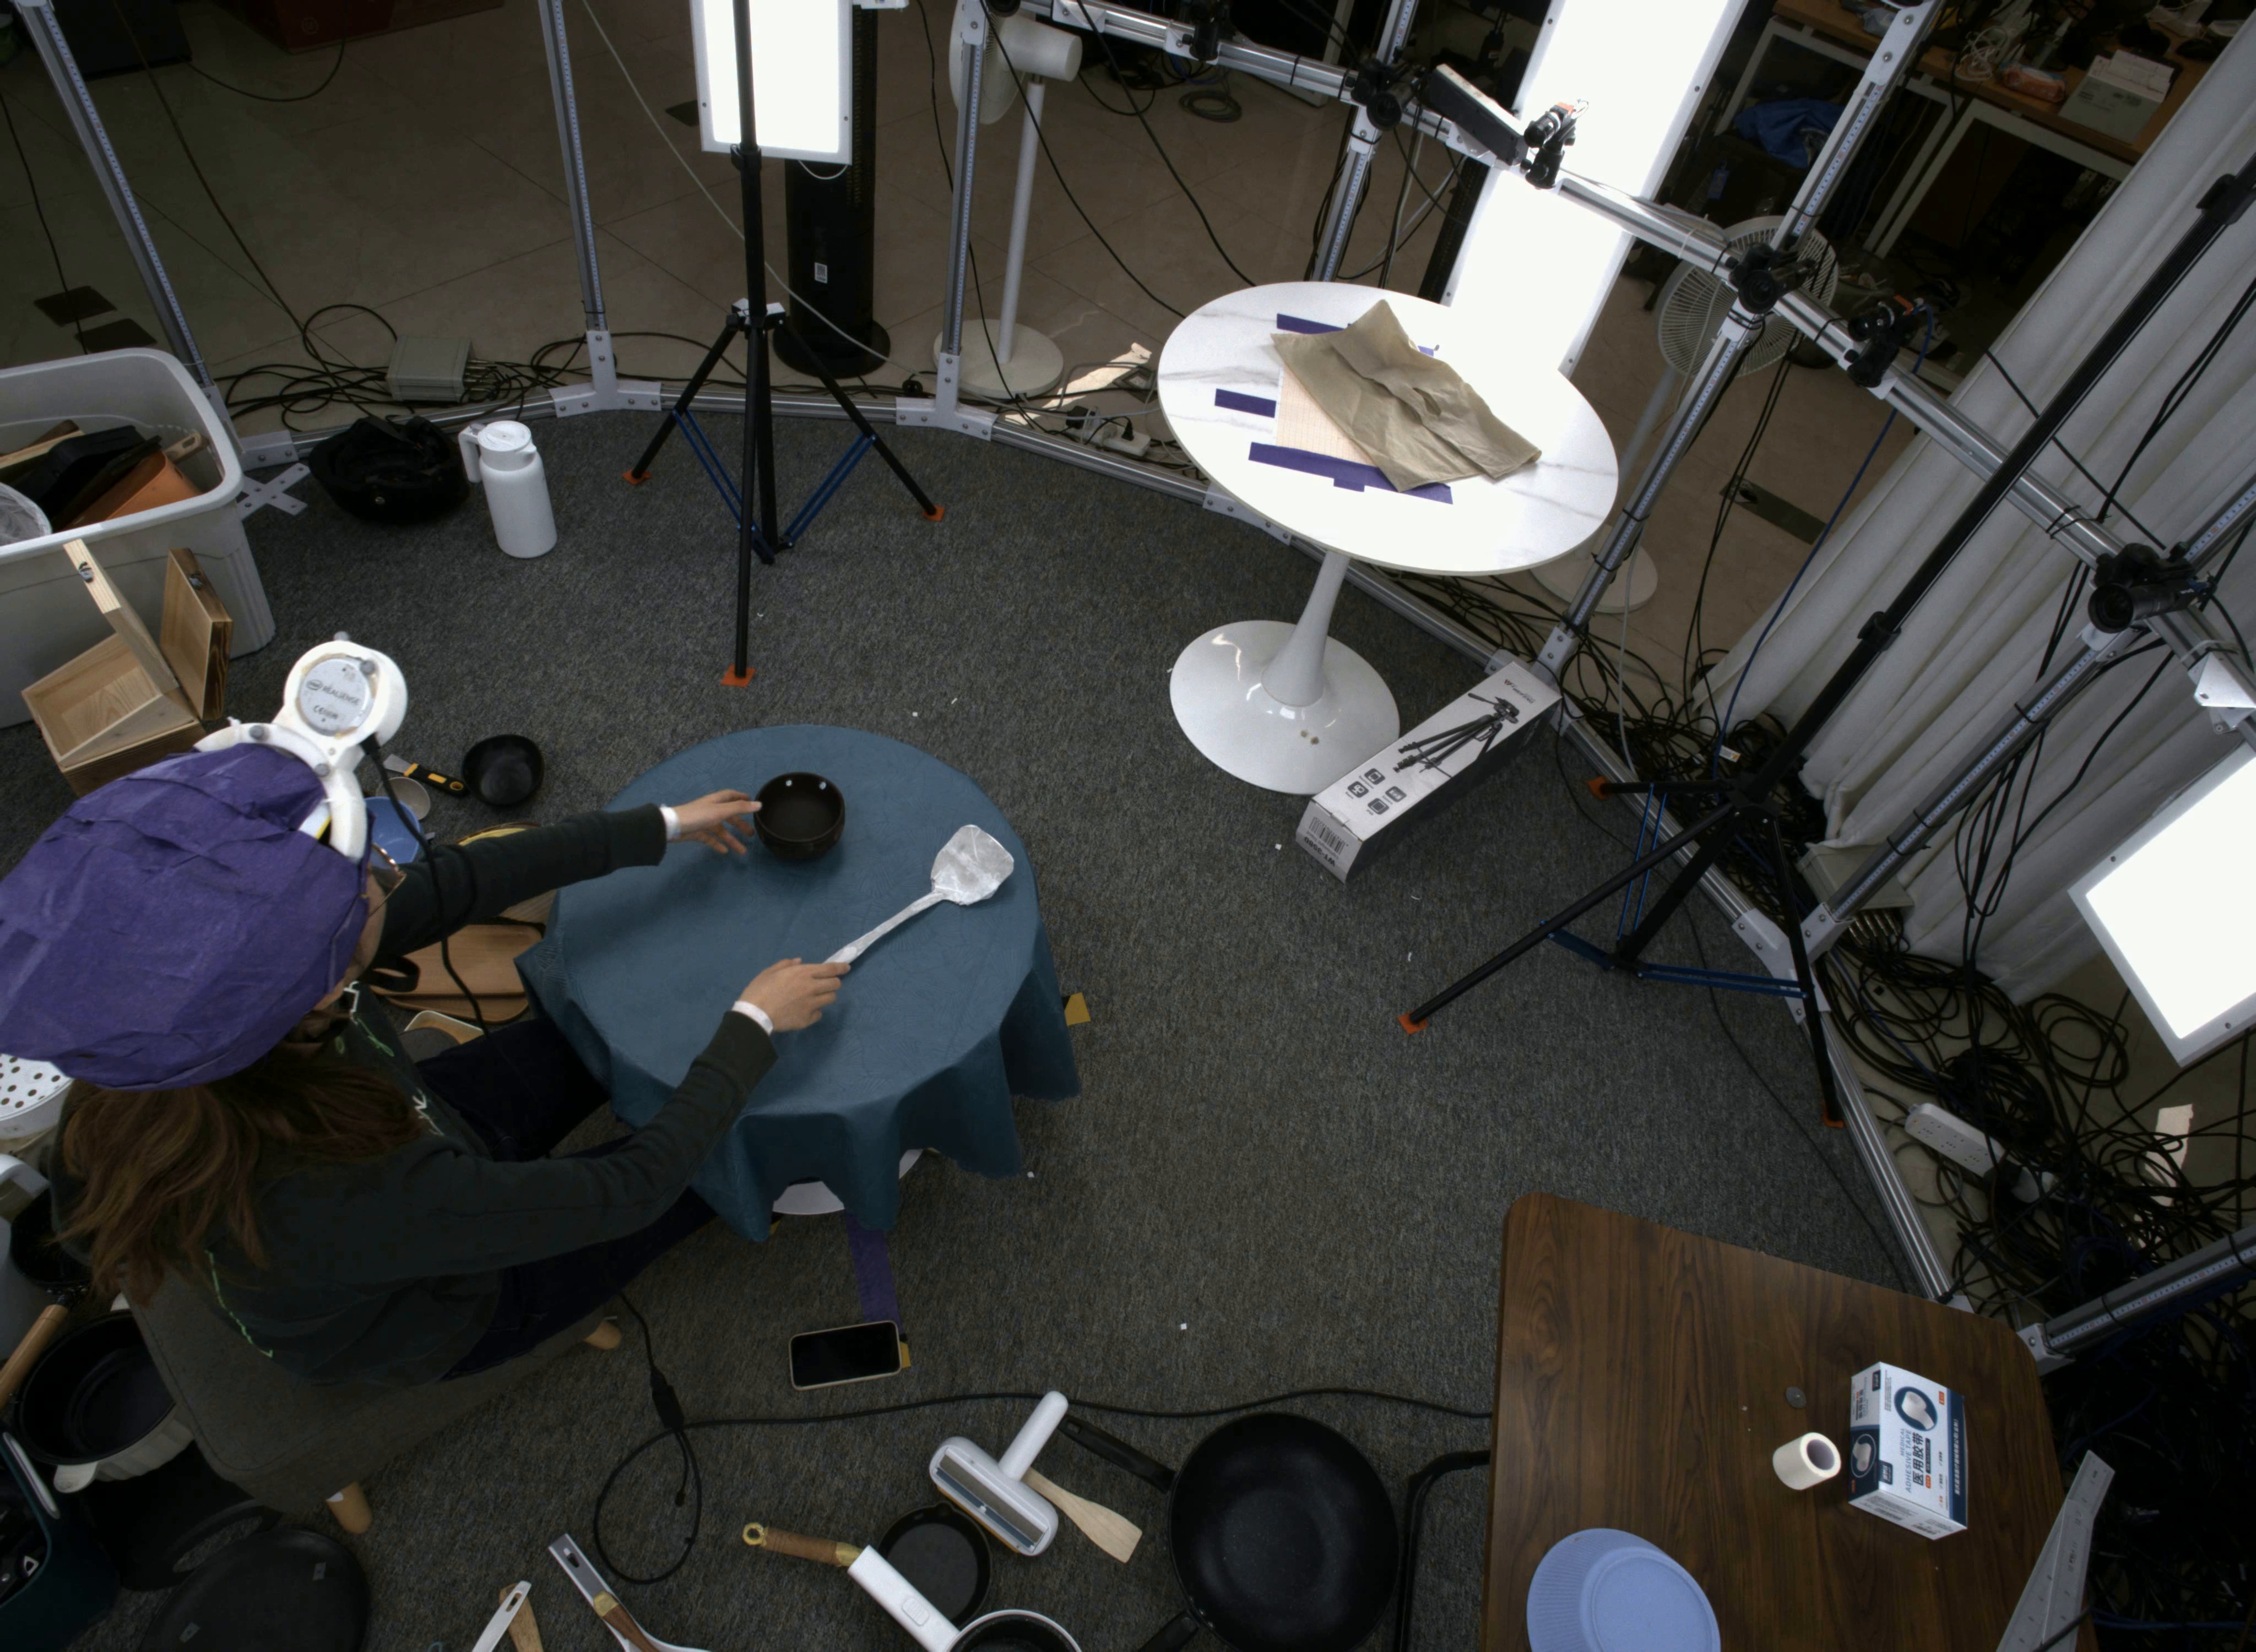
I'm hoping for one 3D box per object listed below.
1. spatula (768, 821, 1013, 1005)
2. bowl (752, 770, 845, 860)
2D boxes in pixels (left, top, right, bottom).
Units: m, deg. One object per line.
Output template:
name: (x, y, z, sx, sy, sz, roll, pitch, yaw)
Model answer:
spatula: (-0.302, 0.116, 1.649, 0.097, 0.045, 0.366, 43, 55, 16)
bowl: (-0.428, -0.007, 1.687, 0.117, 0.071, 0.116, 7, 52, -7)
